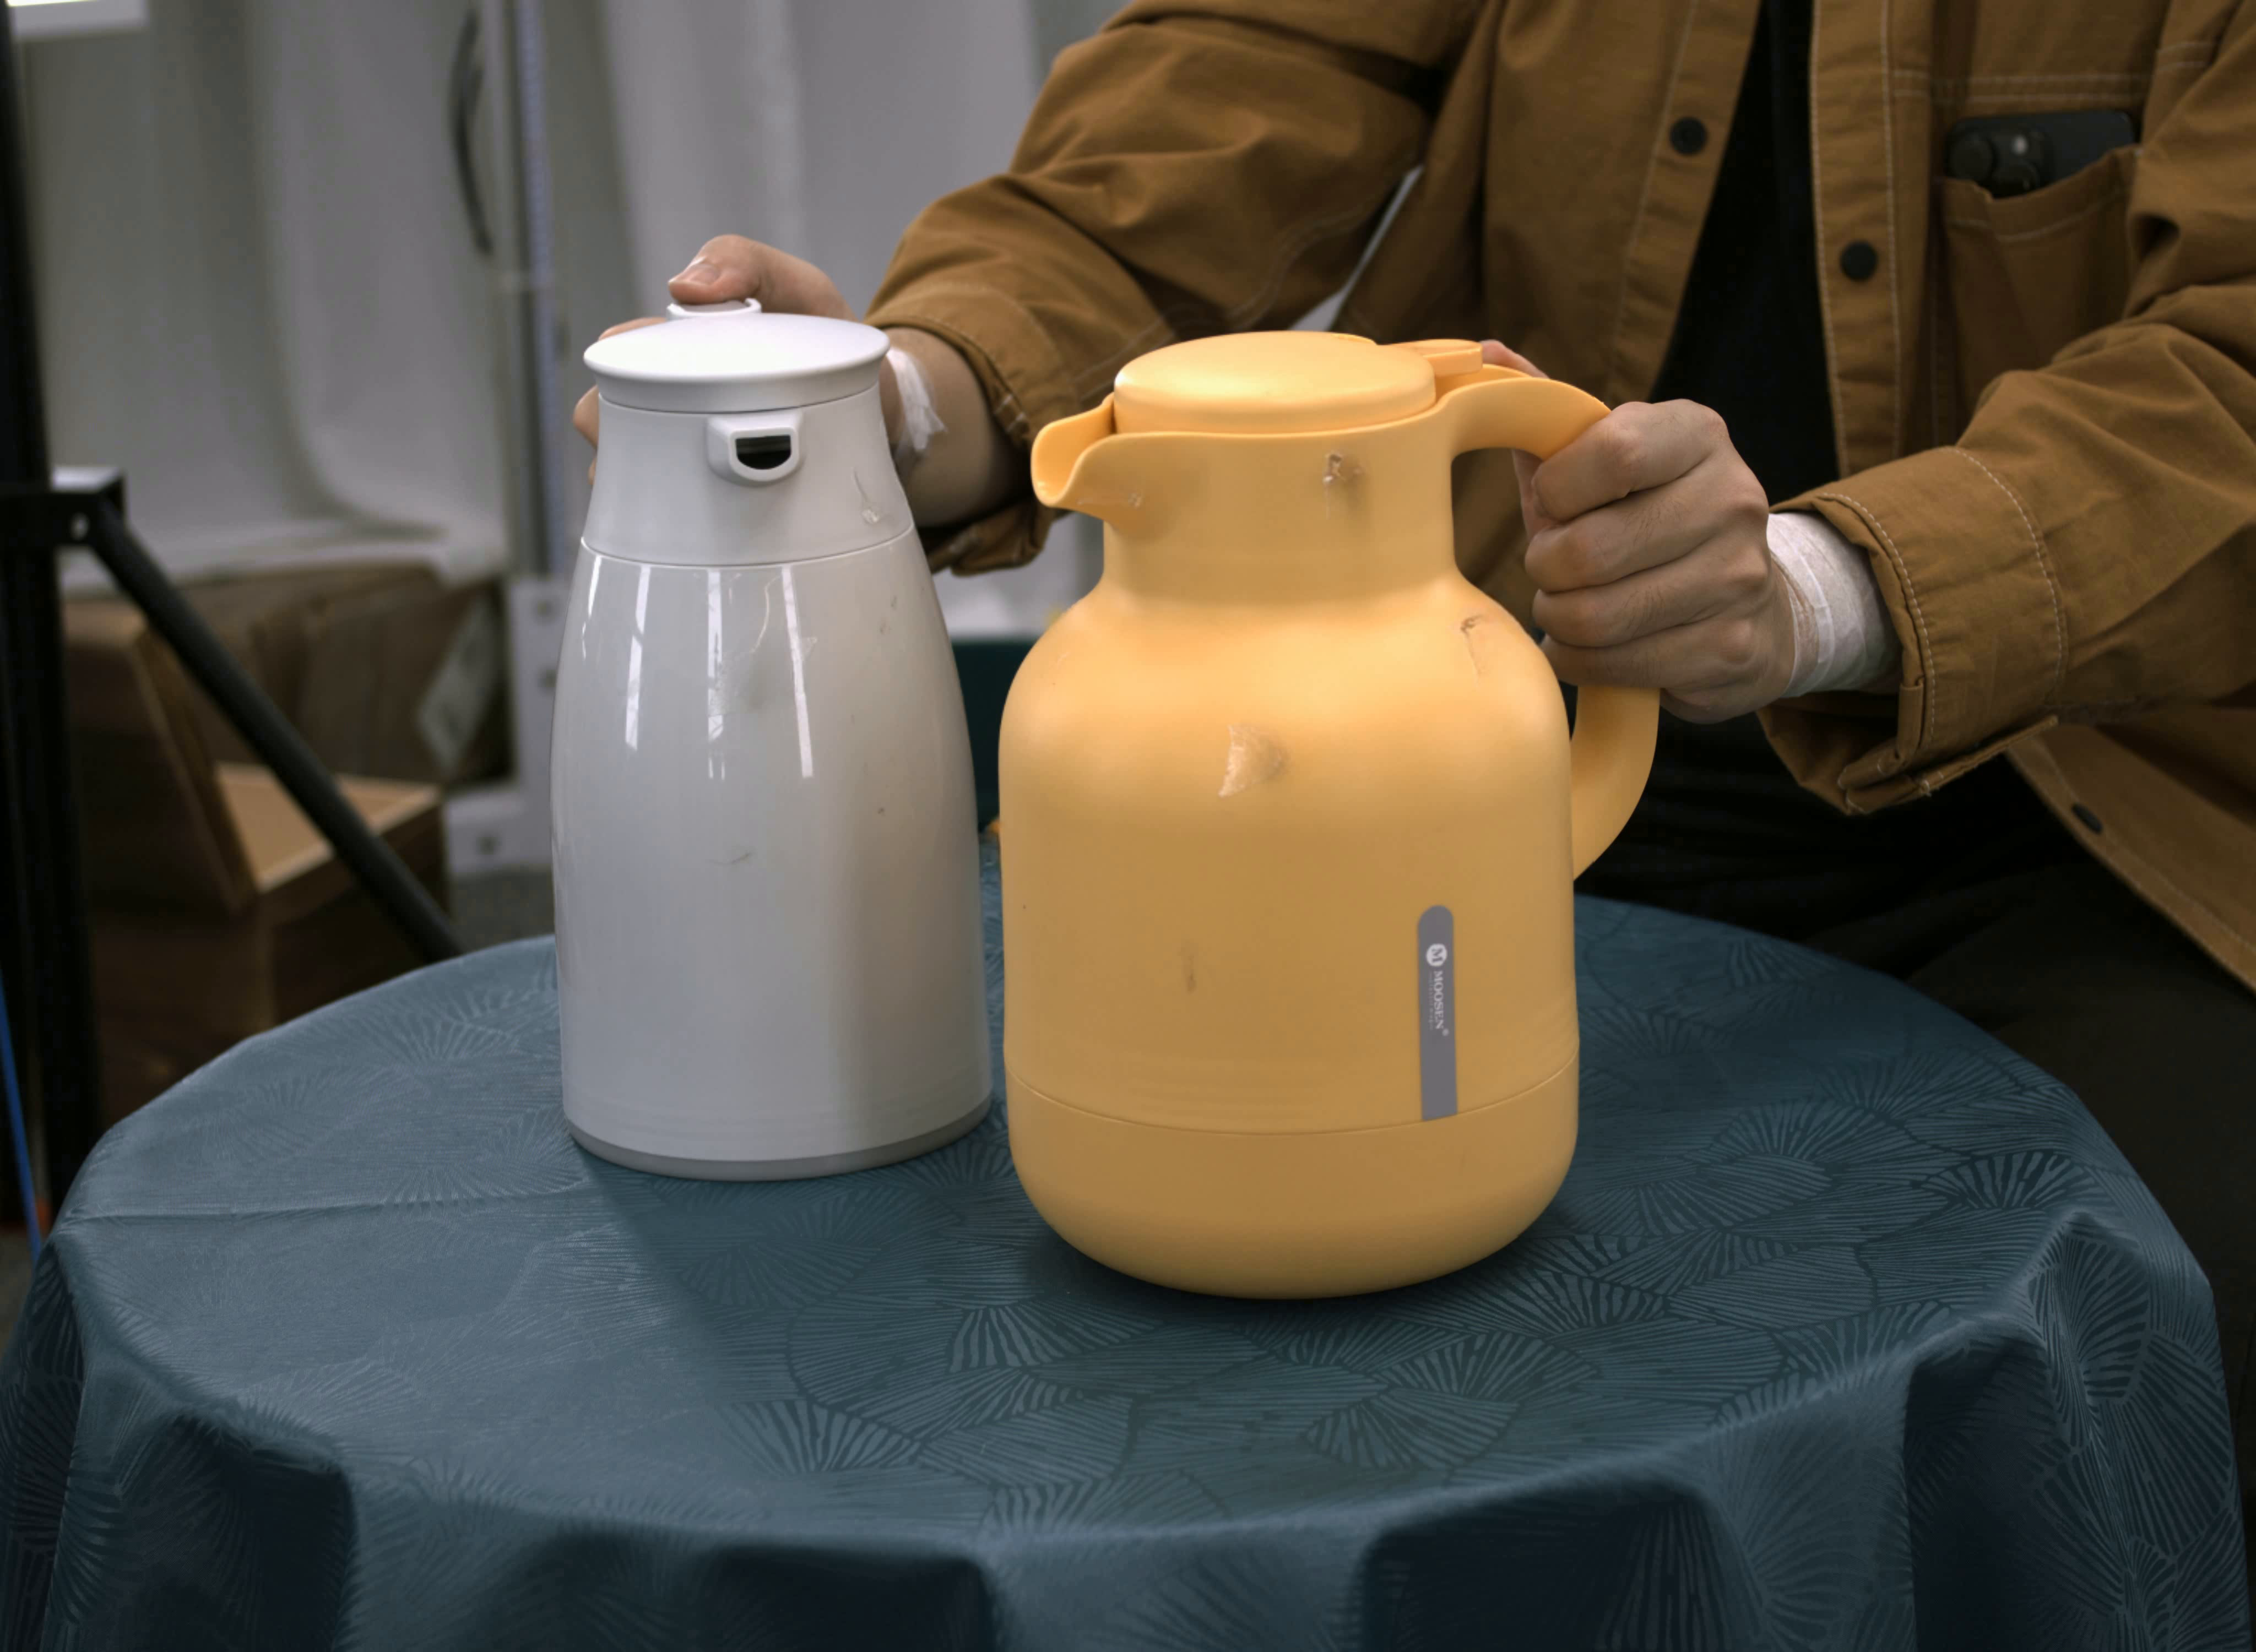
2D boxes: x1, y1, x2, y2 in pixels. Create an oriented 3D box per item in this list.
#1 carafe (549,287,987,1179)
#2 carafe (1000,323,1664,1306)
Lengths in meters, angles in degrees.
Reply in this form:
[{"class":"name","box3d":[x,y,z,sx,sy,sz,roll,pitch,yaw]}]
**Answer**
[{"class":"carafe","box3d":[-0.116,-0.036,1.629,0.131,0.248,0.170,-5,15,-10]},{"class":"carafe","box3d":[0.063,-0.010,1.487,0.198,0.260,0.167,-11,19,-25]}]
